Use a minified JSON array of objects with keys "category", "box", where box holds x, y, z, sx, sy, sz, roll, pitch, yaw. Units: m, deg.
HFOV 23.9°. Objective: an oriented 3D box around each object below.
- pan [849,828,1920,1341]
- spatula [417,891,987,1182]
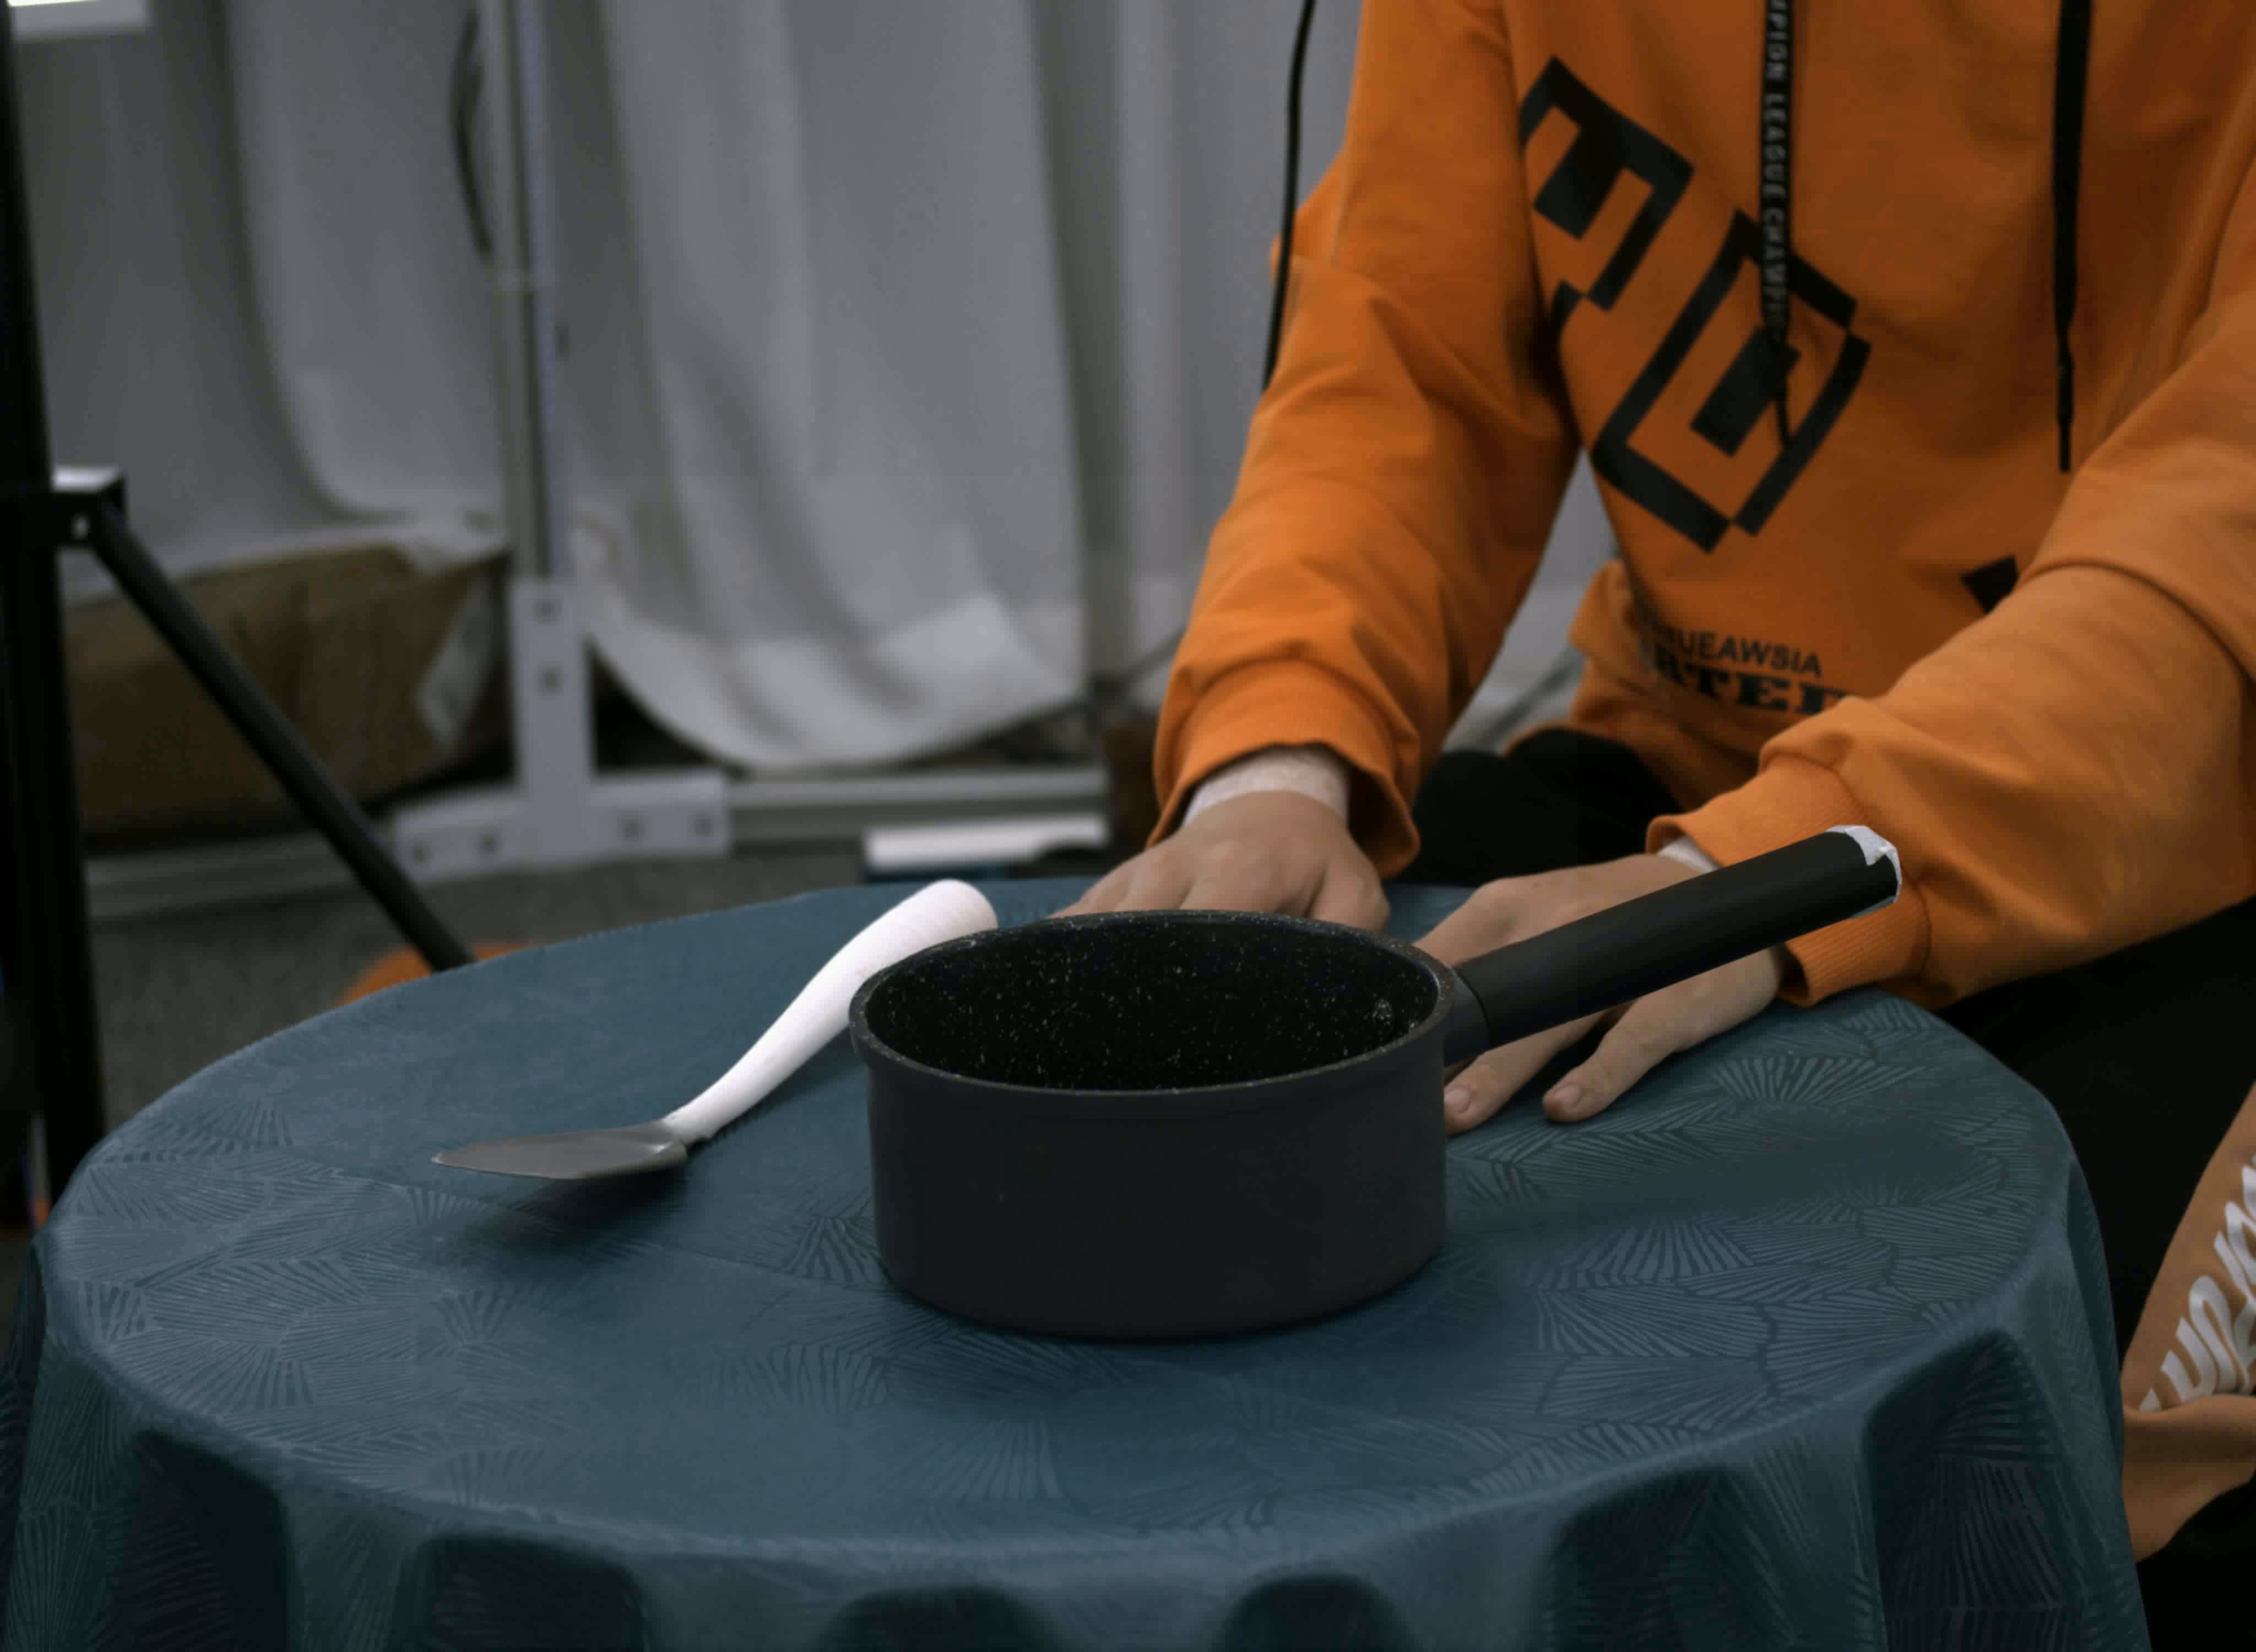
[{"category":"pan","box":[0.081,0.069,1.527,0.323,0.086,0.175,-10,18,-20]},{"category":"spatula","box":[-0.121,0.072,1.648,0.059,0.032,0.283,10,19,24]}]
